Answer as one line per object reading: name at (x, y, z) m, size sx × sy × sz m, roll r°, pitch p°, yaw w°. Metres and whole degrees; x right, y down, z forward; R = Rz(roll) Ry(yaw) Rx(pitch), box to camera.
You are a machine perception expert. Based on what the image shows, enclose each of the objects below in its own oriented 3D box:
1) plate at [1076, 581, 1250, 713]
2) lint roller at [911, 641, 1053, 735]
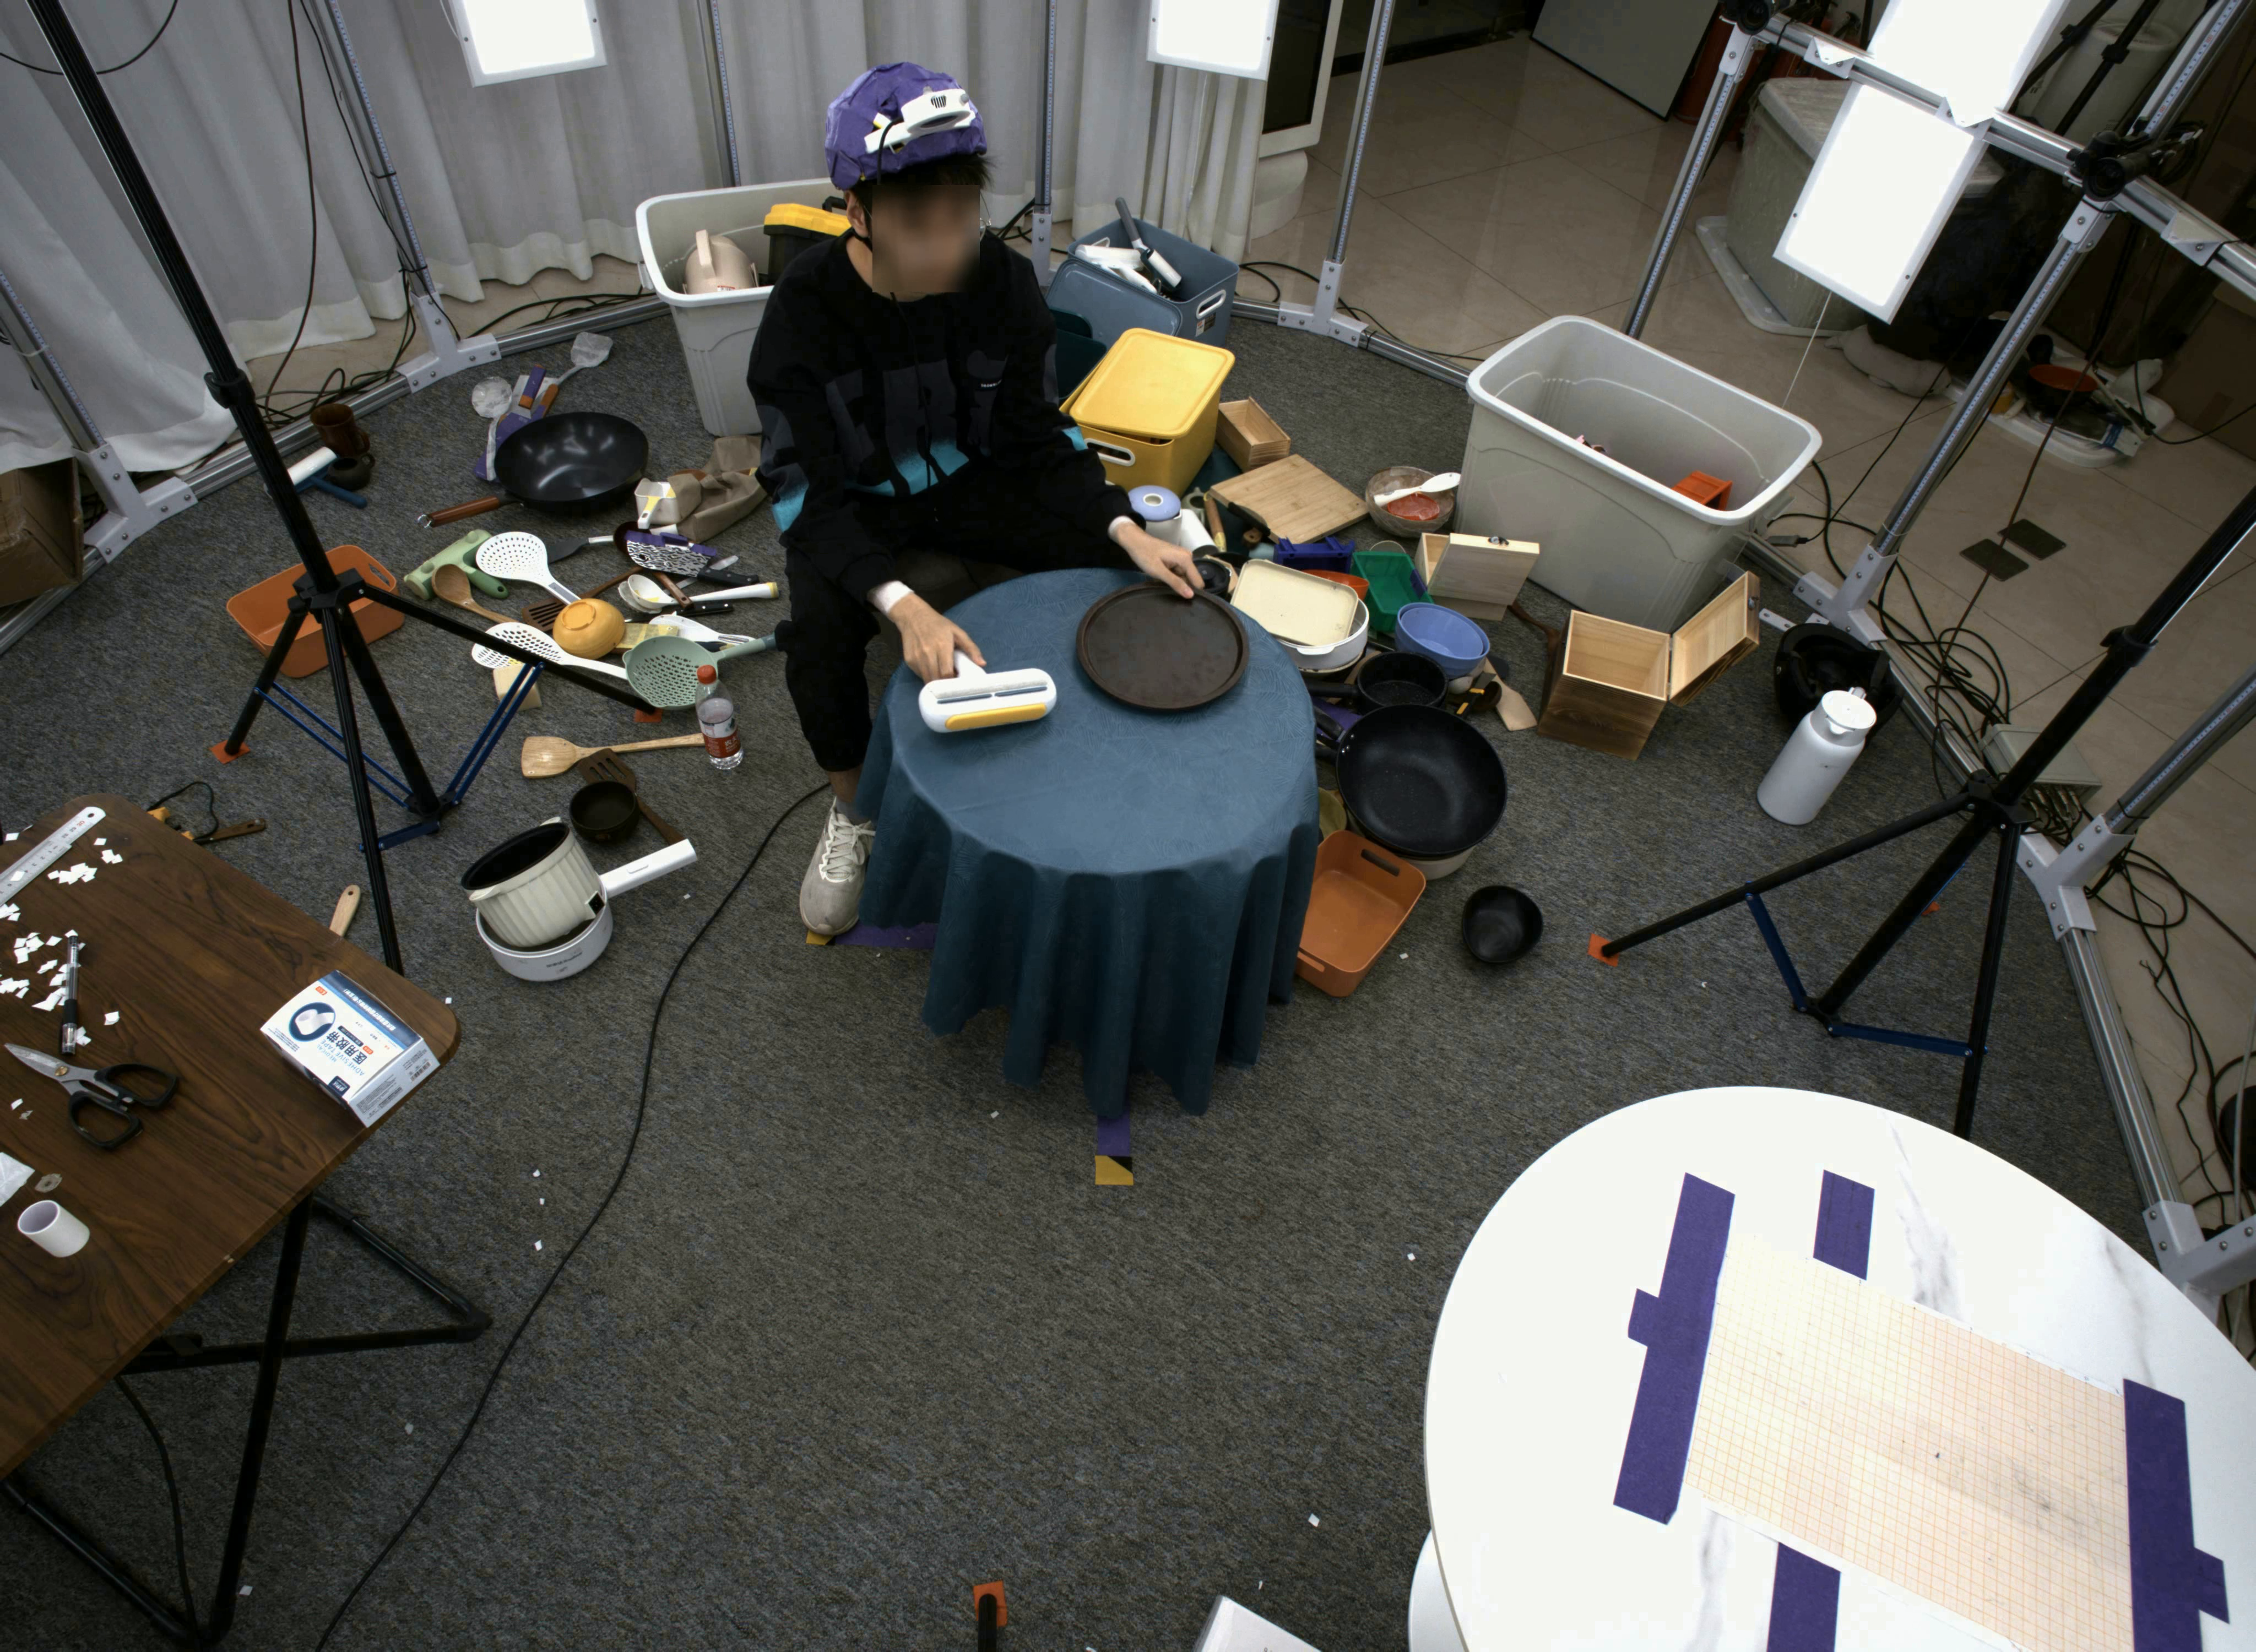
plate at (0.050, -0.262, 1.874) m, size 0.254 × 0.028 × 0.261 m, roll 0°, pitch 52°, yaw 0°
lint roller at (-0.218, -0.207, 1.790) m, size 0.193 × 0.072 × 0.197 m, roll -10°, pitch 49°, yaw -19°
